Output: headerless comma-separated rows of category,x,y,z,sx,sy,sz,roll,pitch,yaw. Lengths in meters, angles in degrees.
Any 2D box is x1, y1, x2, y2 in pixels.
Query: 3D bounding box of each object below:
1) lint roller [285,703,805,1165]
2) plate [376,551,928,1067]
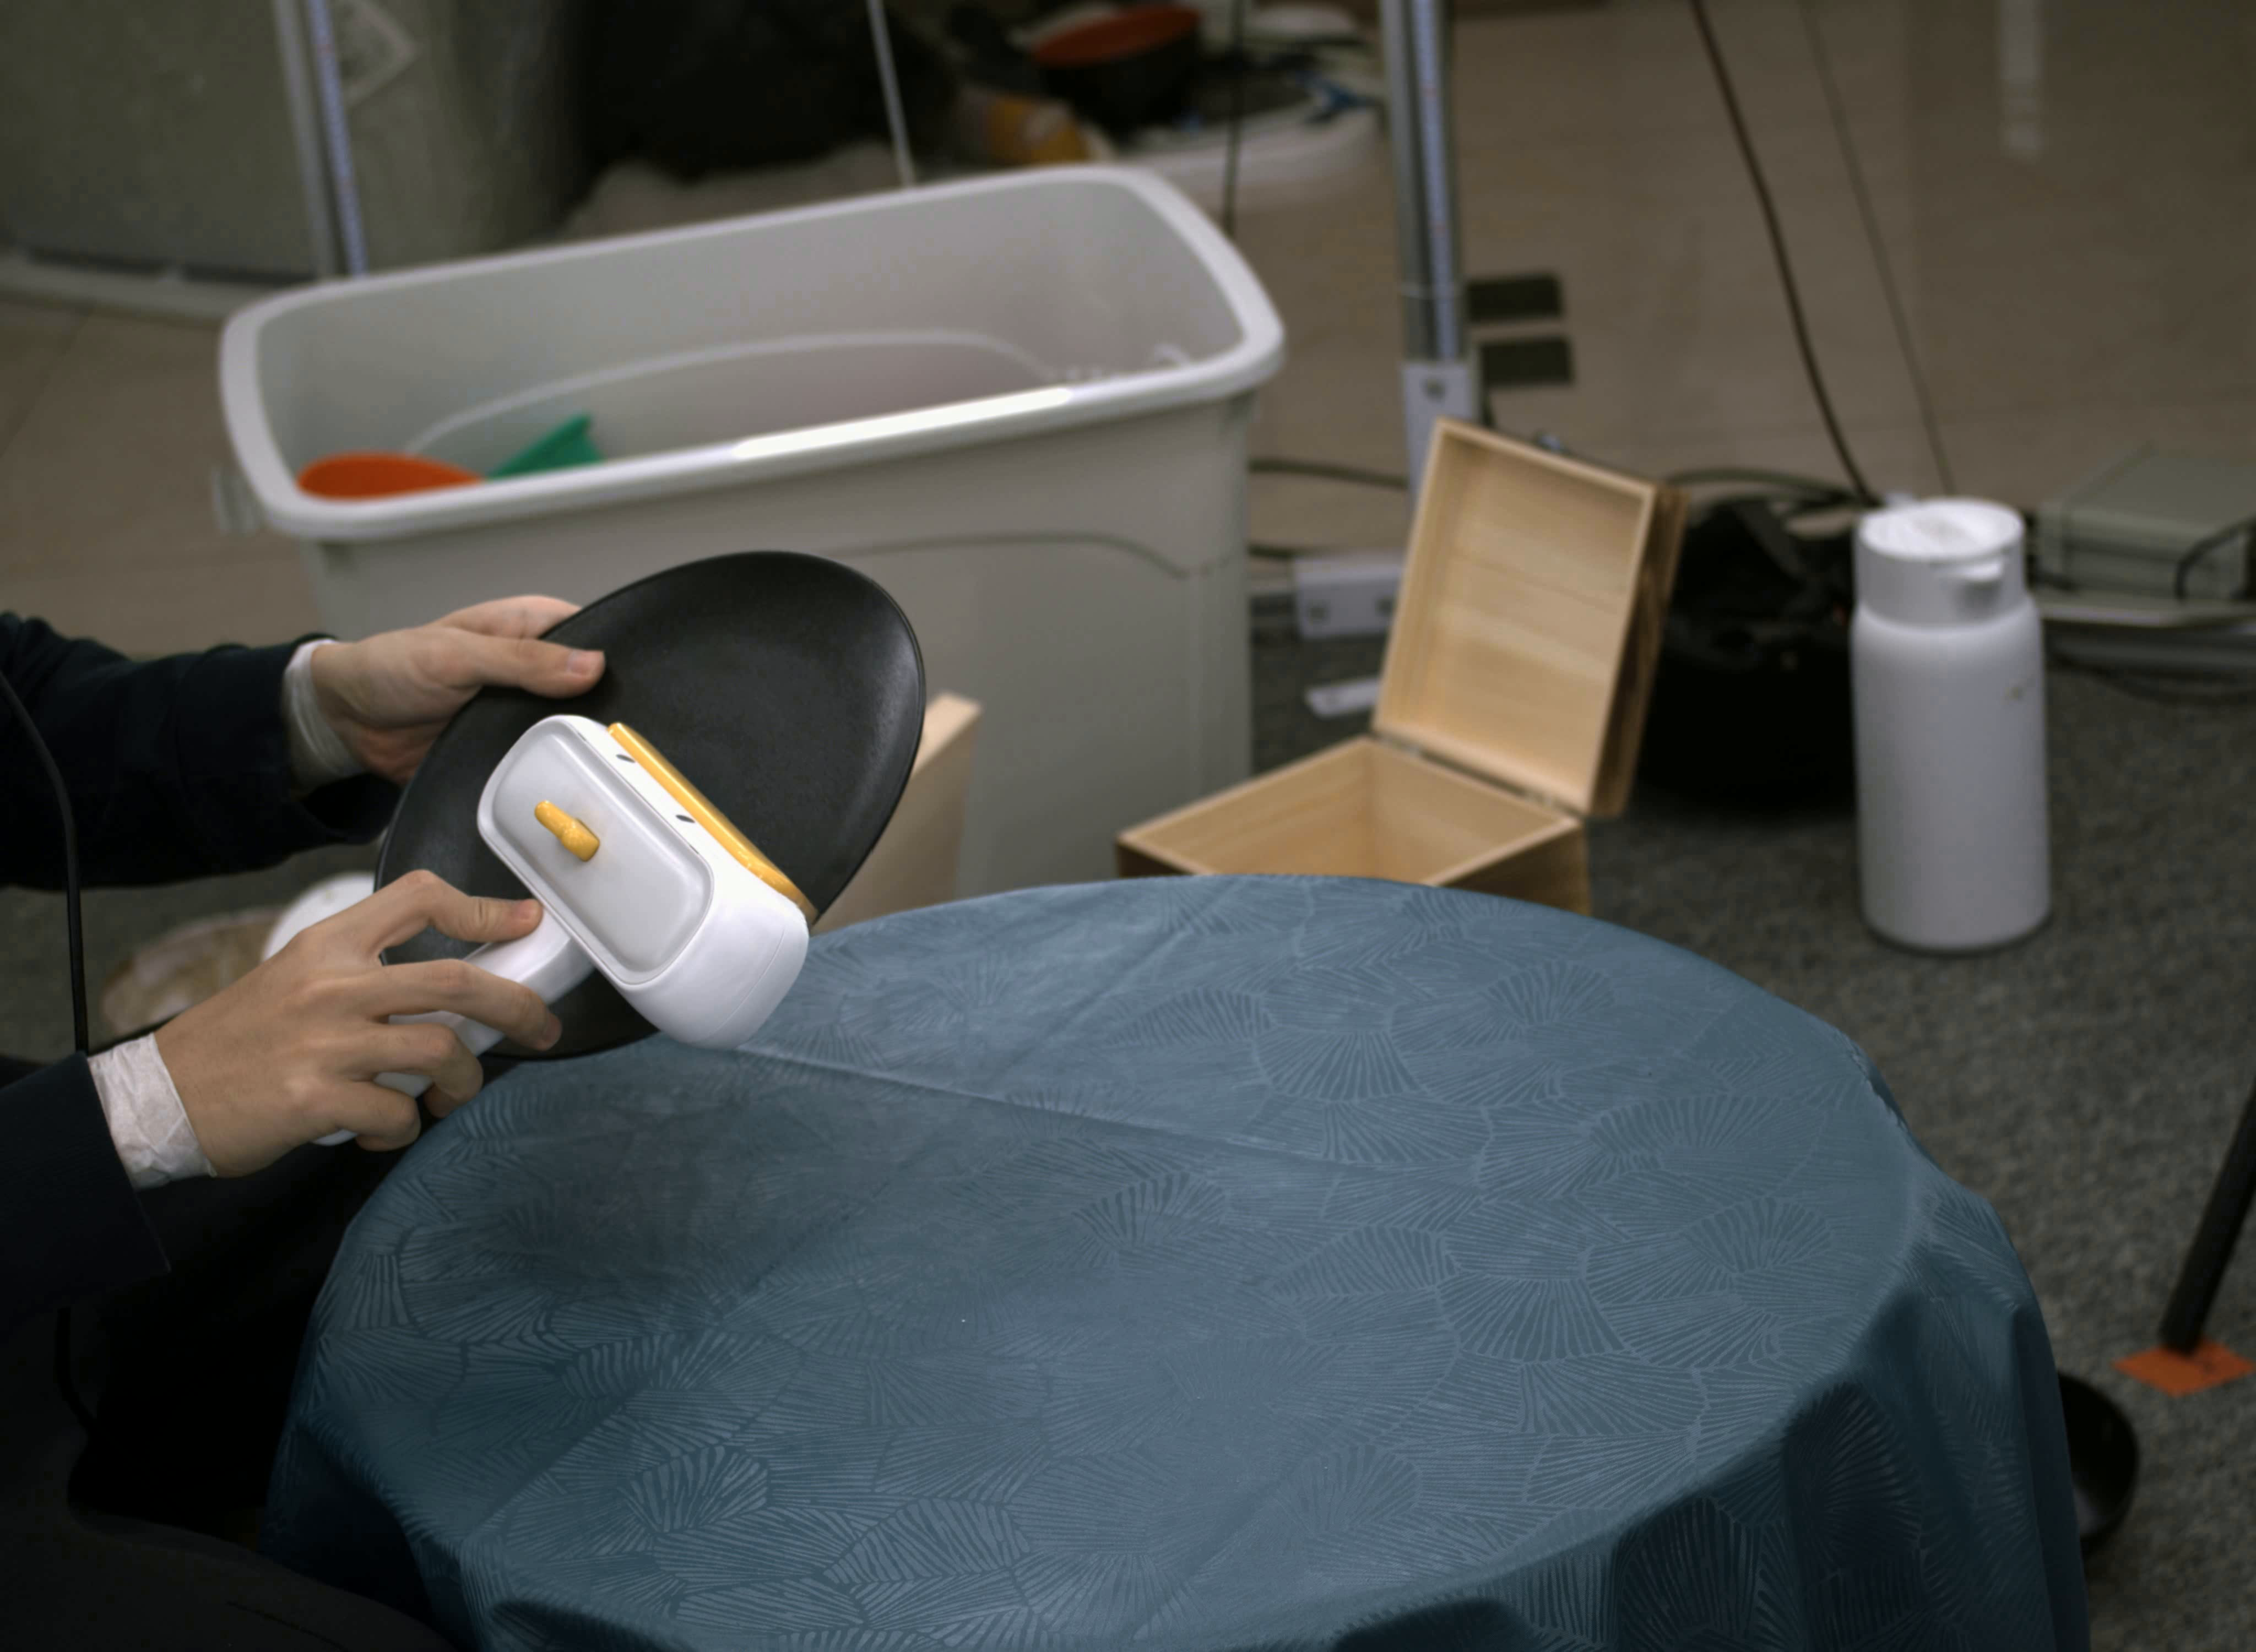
lint roller,-0.224,0.054,2.065,0.192,0.075,0.190,-49,42,-4
plate,-0.178,-0.004,2.160,0.245,0.024,0.240,-19,46,20
